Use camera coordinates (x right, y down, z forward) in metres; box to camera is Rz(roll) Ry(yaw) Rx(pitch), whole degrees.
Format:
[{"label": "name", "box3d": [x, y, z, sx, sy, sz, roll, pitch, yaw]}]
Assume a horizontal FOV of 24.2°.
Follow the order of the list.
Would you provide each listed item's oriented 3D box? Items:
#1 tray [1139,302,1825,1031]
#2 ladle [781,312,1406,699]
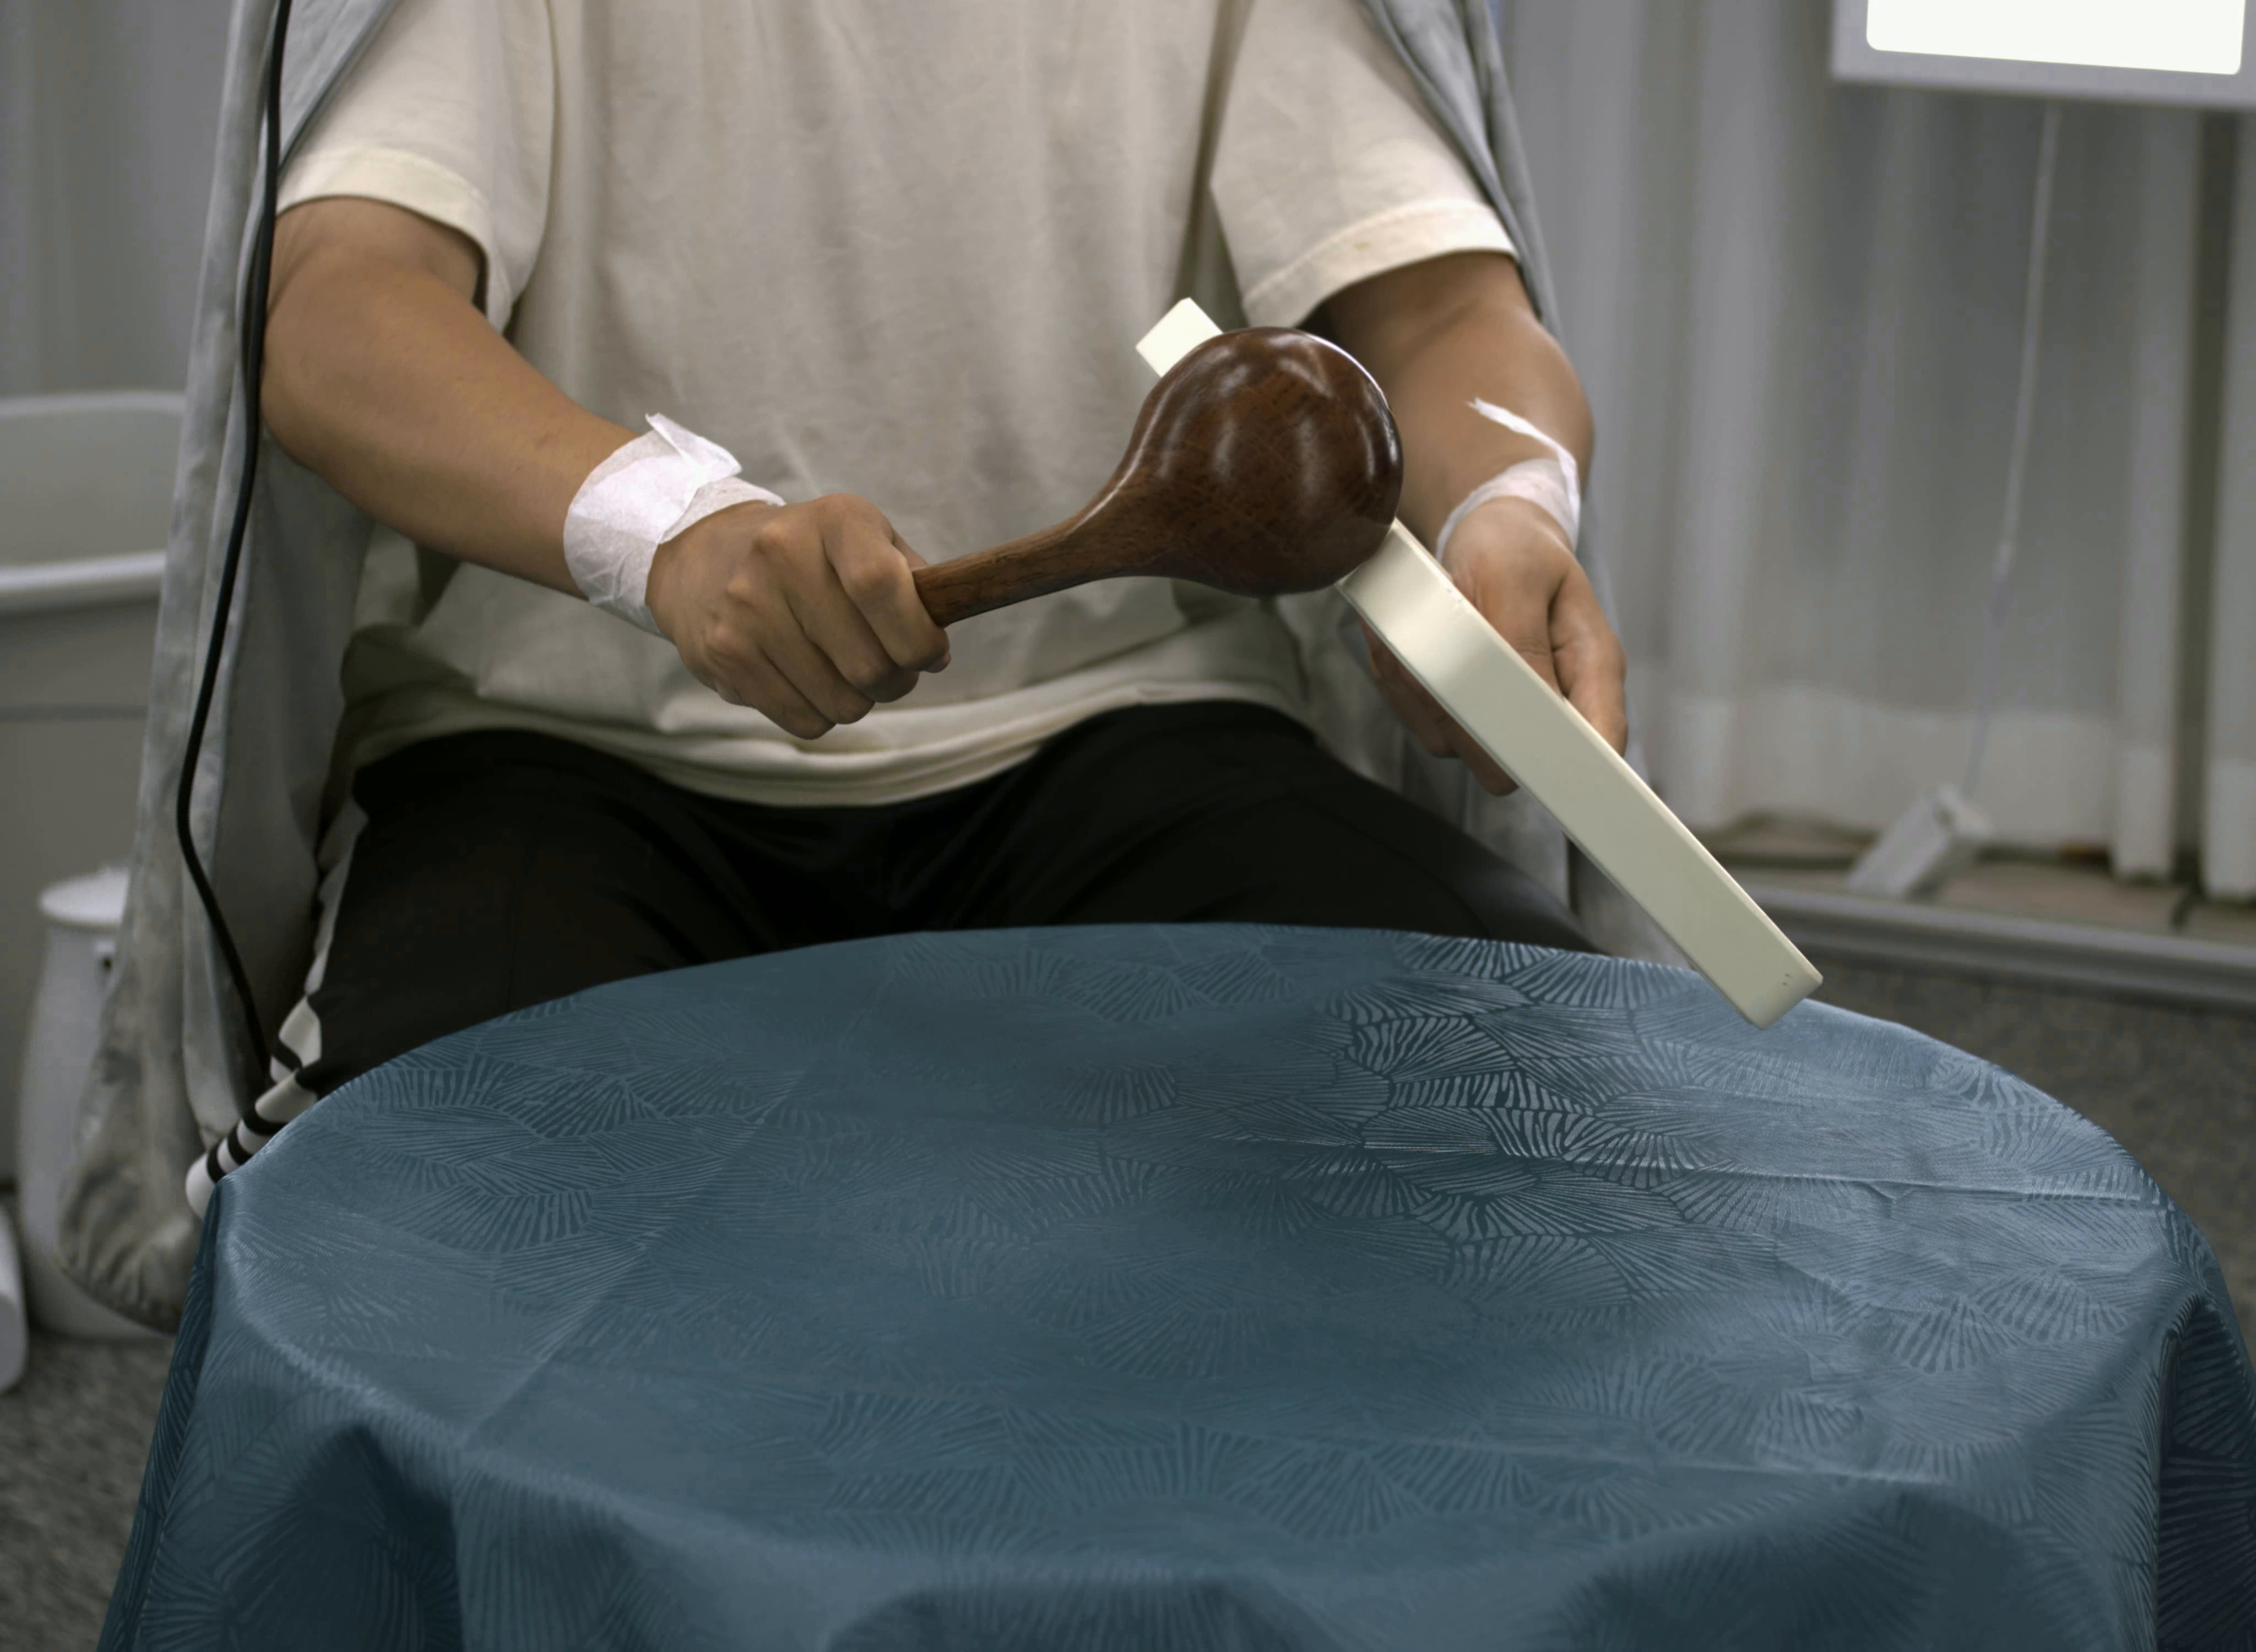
[{"label": "tray", "box3d": [0.107, -0.055, 1.677, 0.027, 0.194, 0.297, -43, 28, 5]}, {"label": "ladle", "box3d": [-0.014, -0.091, 1.629, 0.077, 0.082, 0.272, -25, 4, -33]}]
